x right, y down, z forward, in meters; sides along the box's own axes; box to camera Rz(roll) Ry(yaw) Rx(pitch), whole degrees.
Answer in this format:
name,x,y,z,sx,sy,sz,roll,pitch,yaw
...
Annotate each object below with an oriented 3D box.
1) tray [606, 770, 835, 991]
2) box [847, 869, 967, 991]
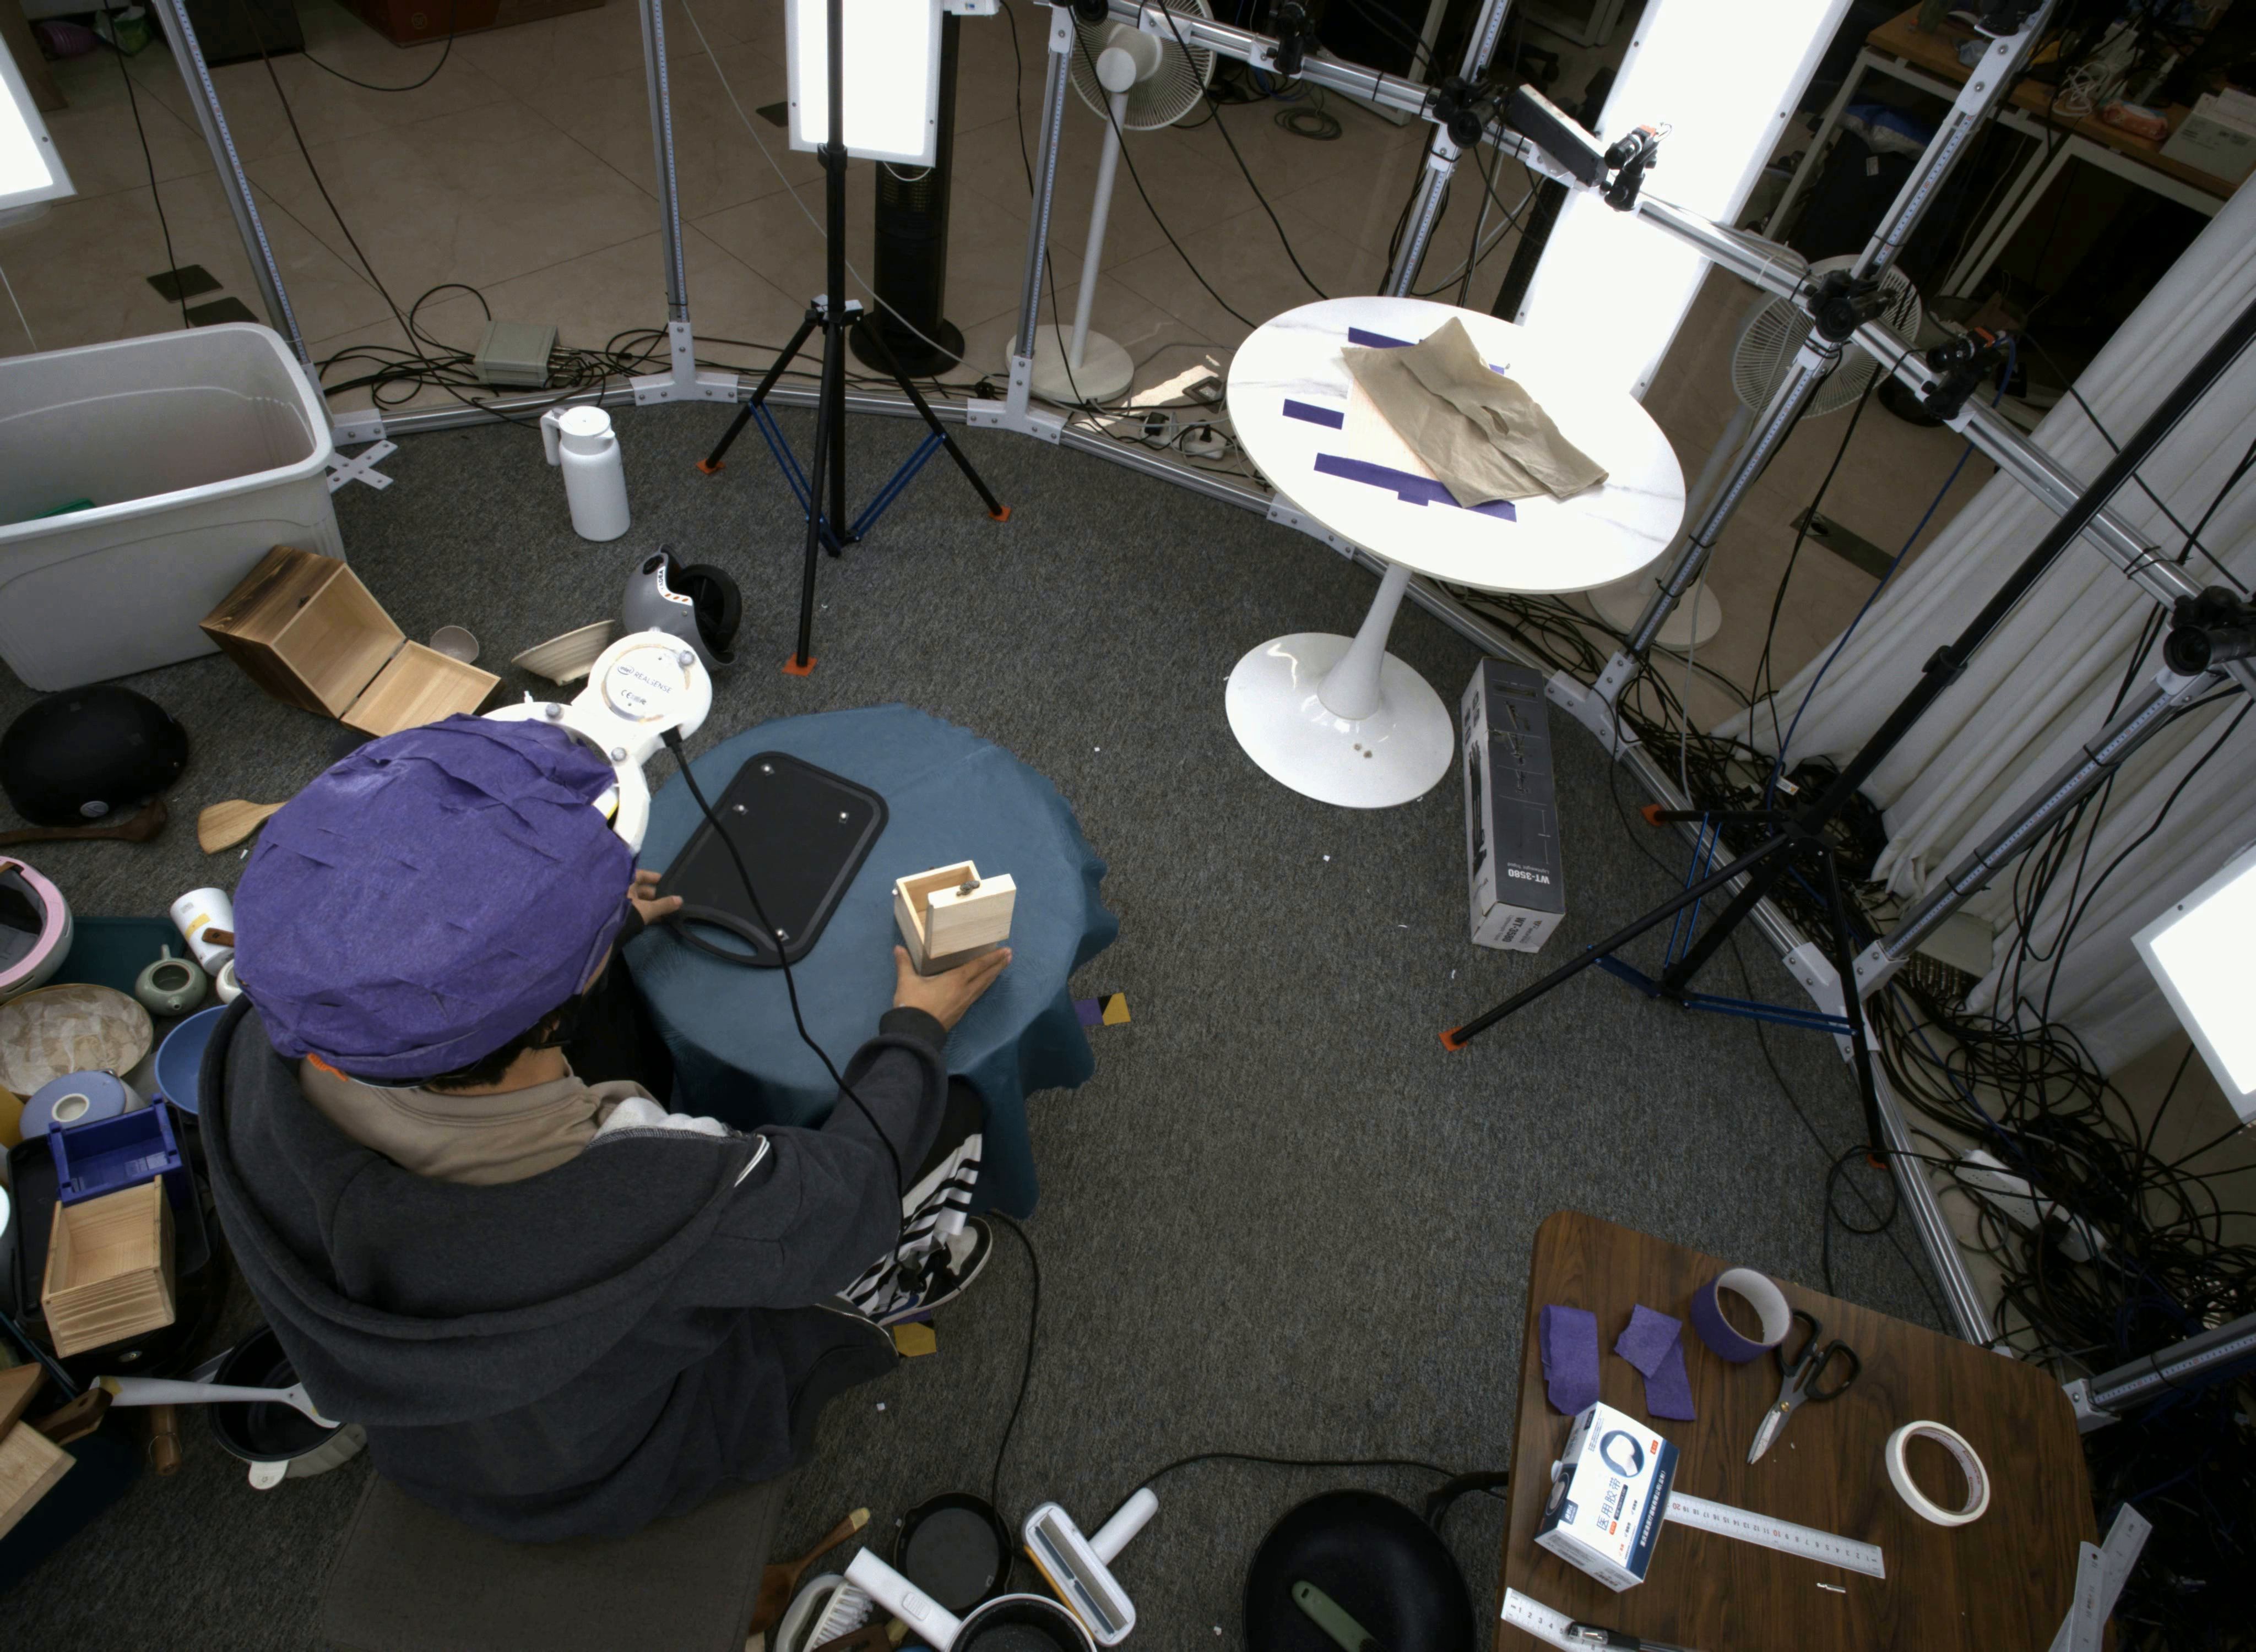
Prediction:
name,x,y,z,sx,sy,sz,roll,pitch,yaw
tray,-0.517,0.065,1.641,0.210,0.010,0.322,22,50,-3
box,-0.272,0.101,1.573,0.103,0.188,0.130,-19,60,-25
